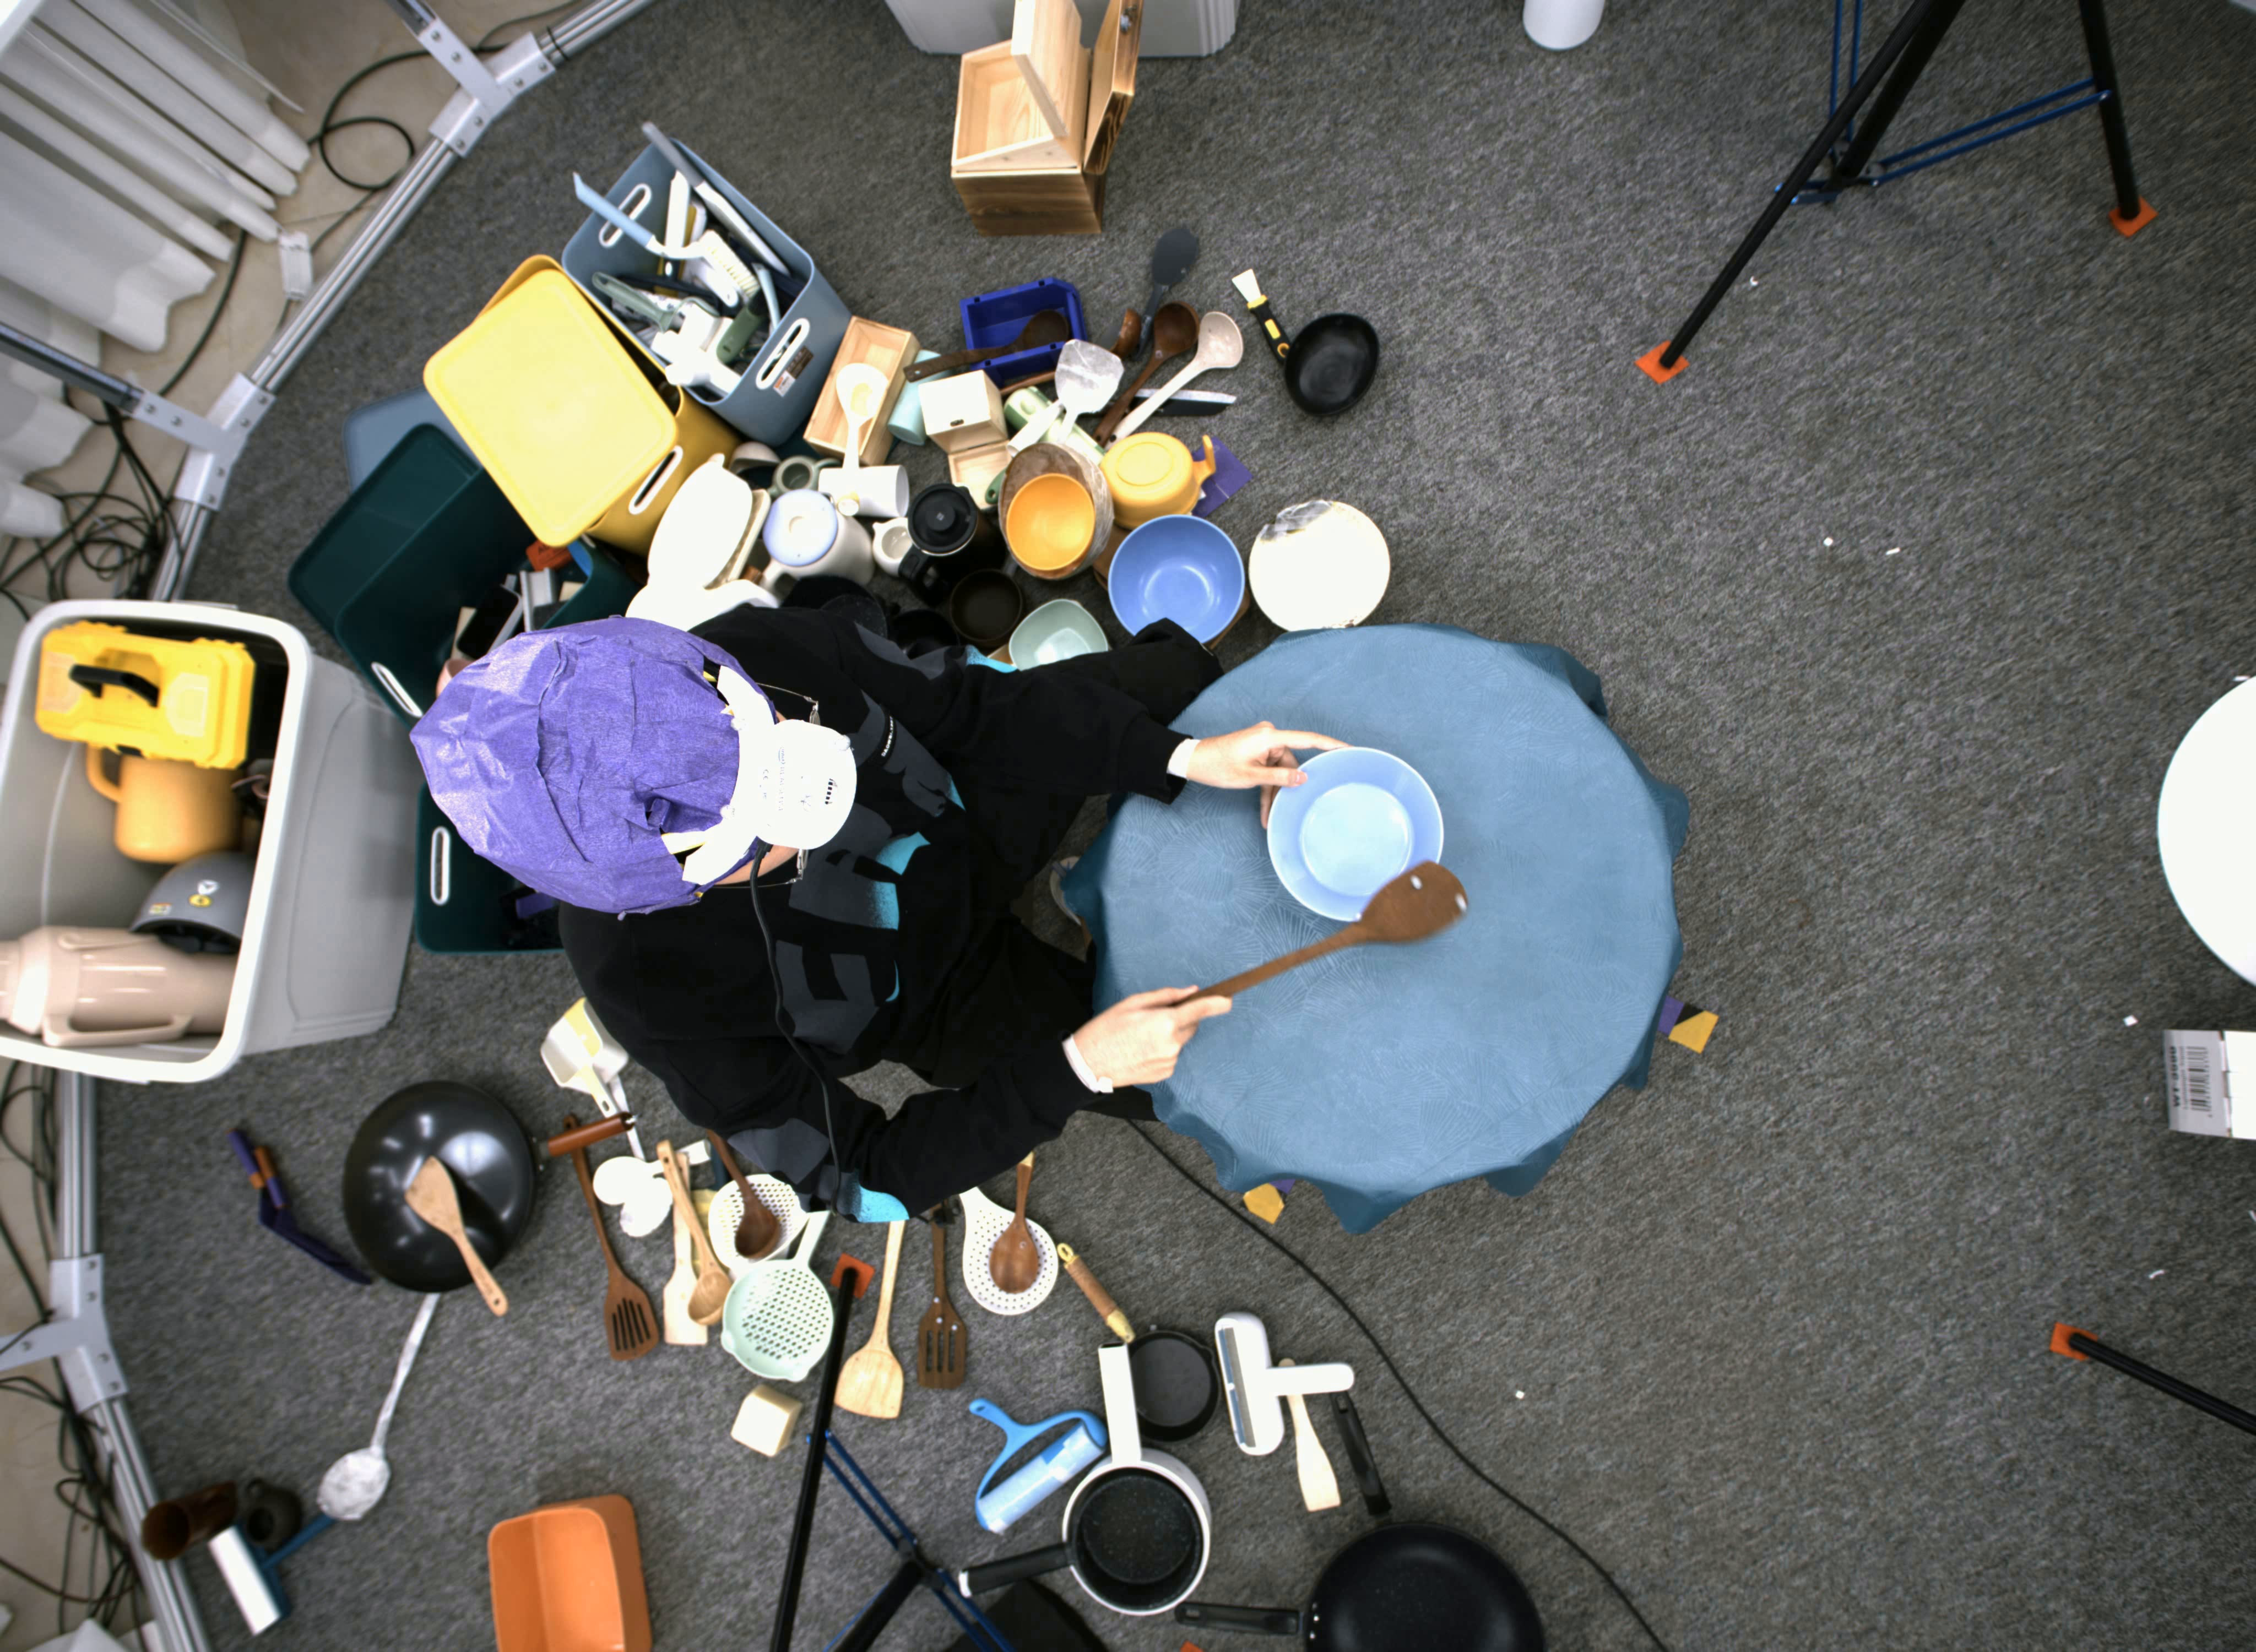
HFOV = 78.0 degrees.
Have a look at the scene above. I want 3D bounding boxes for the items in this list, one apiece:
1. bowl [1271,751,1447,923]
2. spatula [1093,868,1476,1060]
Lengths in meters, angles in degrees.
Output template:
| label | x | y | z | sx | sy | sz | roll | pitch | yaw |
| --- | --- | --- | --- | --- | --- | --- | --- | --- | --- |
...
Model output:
| label | x | y | z | sx | sy | sz | roll | pitch | yaw |
| --- | --- | --- | --- | --- | --- | --- | --- | --- | --- |
| bowl | 0.238 | 0.013 | 1.420 | 0.177 | 0.070 | 0.175 | -1 | 85 | 13 |
| spatula | 0.143 | 0.138 | 1.309 | 0.387 | 0.016 | 0.094 | -23 | 37 | 2 |
